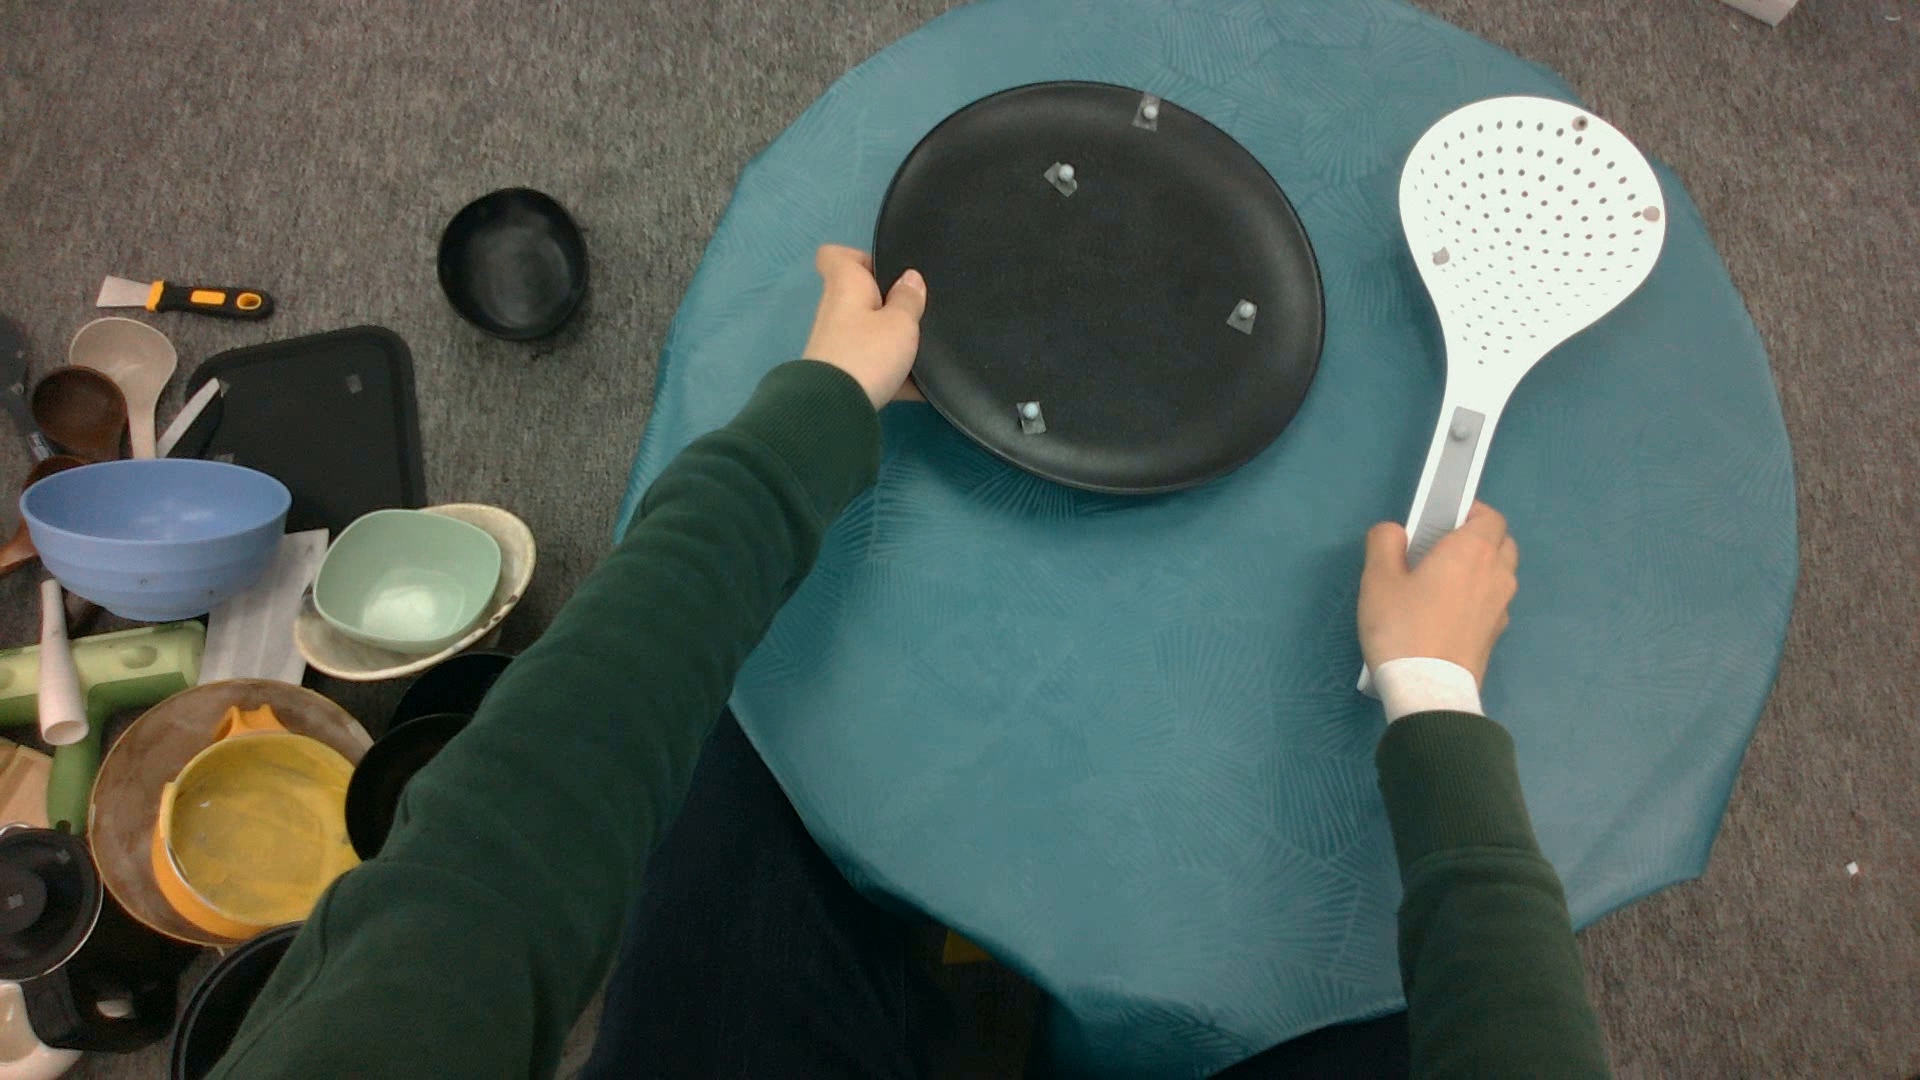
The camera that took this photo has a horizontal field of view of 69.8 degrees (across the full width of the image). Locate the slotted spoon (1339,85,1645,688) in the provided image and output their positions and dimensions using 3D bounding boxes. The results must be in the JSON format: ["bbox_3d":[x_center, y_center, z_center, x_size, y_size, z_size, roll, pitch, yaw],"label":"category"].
[{"bbox_3d":[0.257,-0.087,0.708,0.136,0.045,0.351,19,68,8],"label":"slotted spoon"}]

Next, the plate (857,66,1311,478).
[{"bbox_3d":[0.066,-0.141,0.721,0.244,0.023,0.245,4,69,-11],"label":"plate"}]
